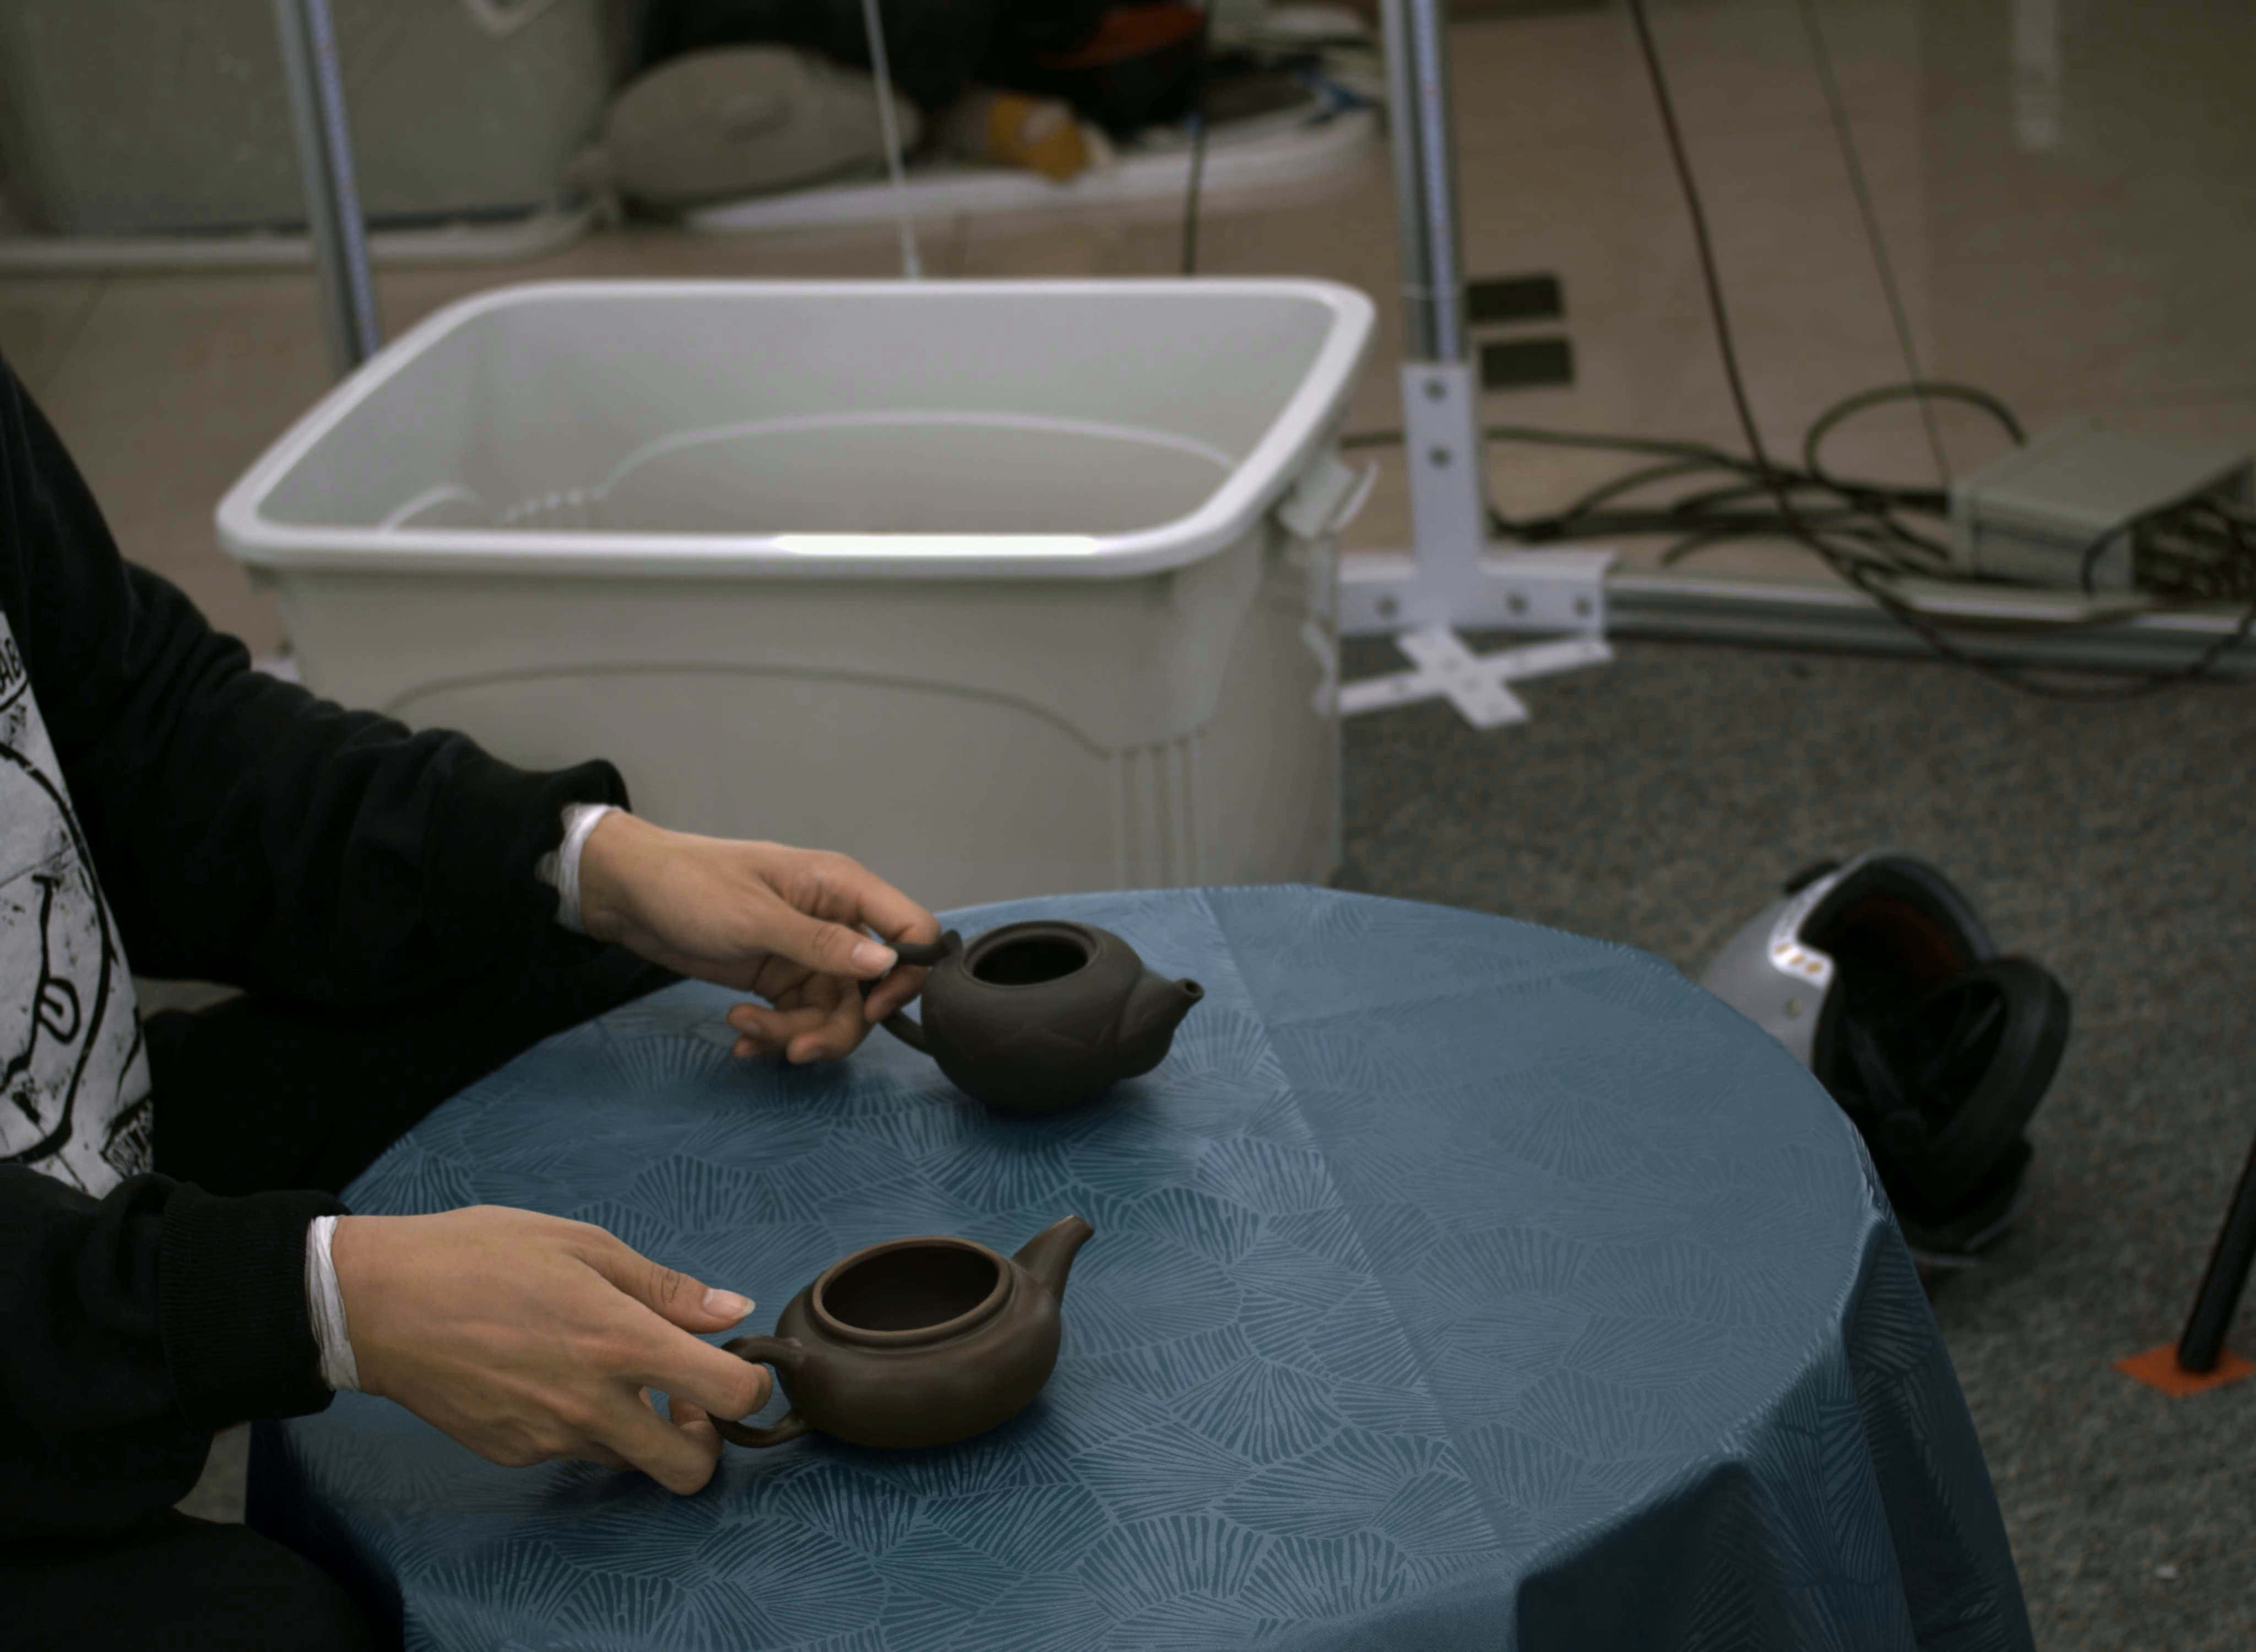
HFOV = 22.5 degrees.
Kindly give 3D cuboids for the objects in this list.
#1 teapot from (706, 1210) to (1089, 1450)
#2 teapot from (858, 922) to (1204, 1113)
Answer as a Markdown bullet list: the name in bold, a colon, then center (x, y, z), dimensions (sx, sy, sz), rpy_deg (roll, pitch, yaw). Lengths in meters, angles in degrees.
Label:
- **teapot**: center (-0.079, 0.182, 2.011), dimensions (0.152, 0.054, 0.101), rpy_deg (-19, 26, -26)
- **teapot**: center (-0.038, 0.073, 2.223), dimensions (0.153, 0.065, 0.091), rpy_deg (7, 26, 26)
